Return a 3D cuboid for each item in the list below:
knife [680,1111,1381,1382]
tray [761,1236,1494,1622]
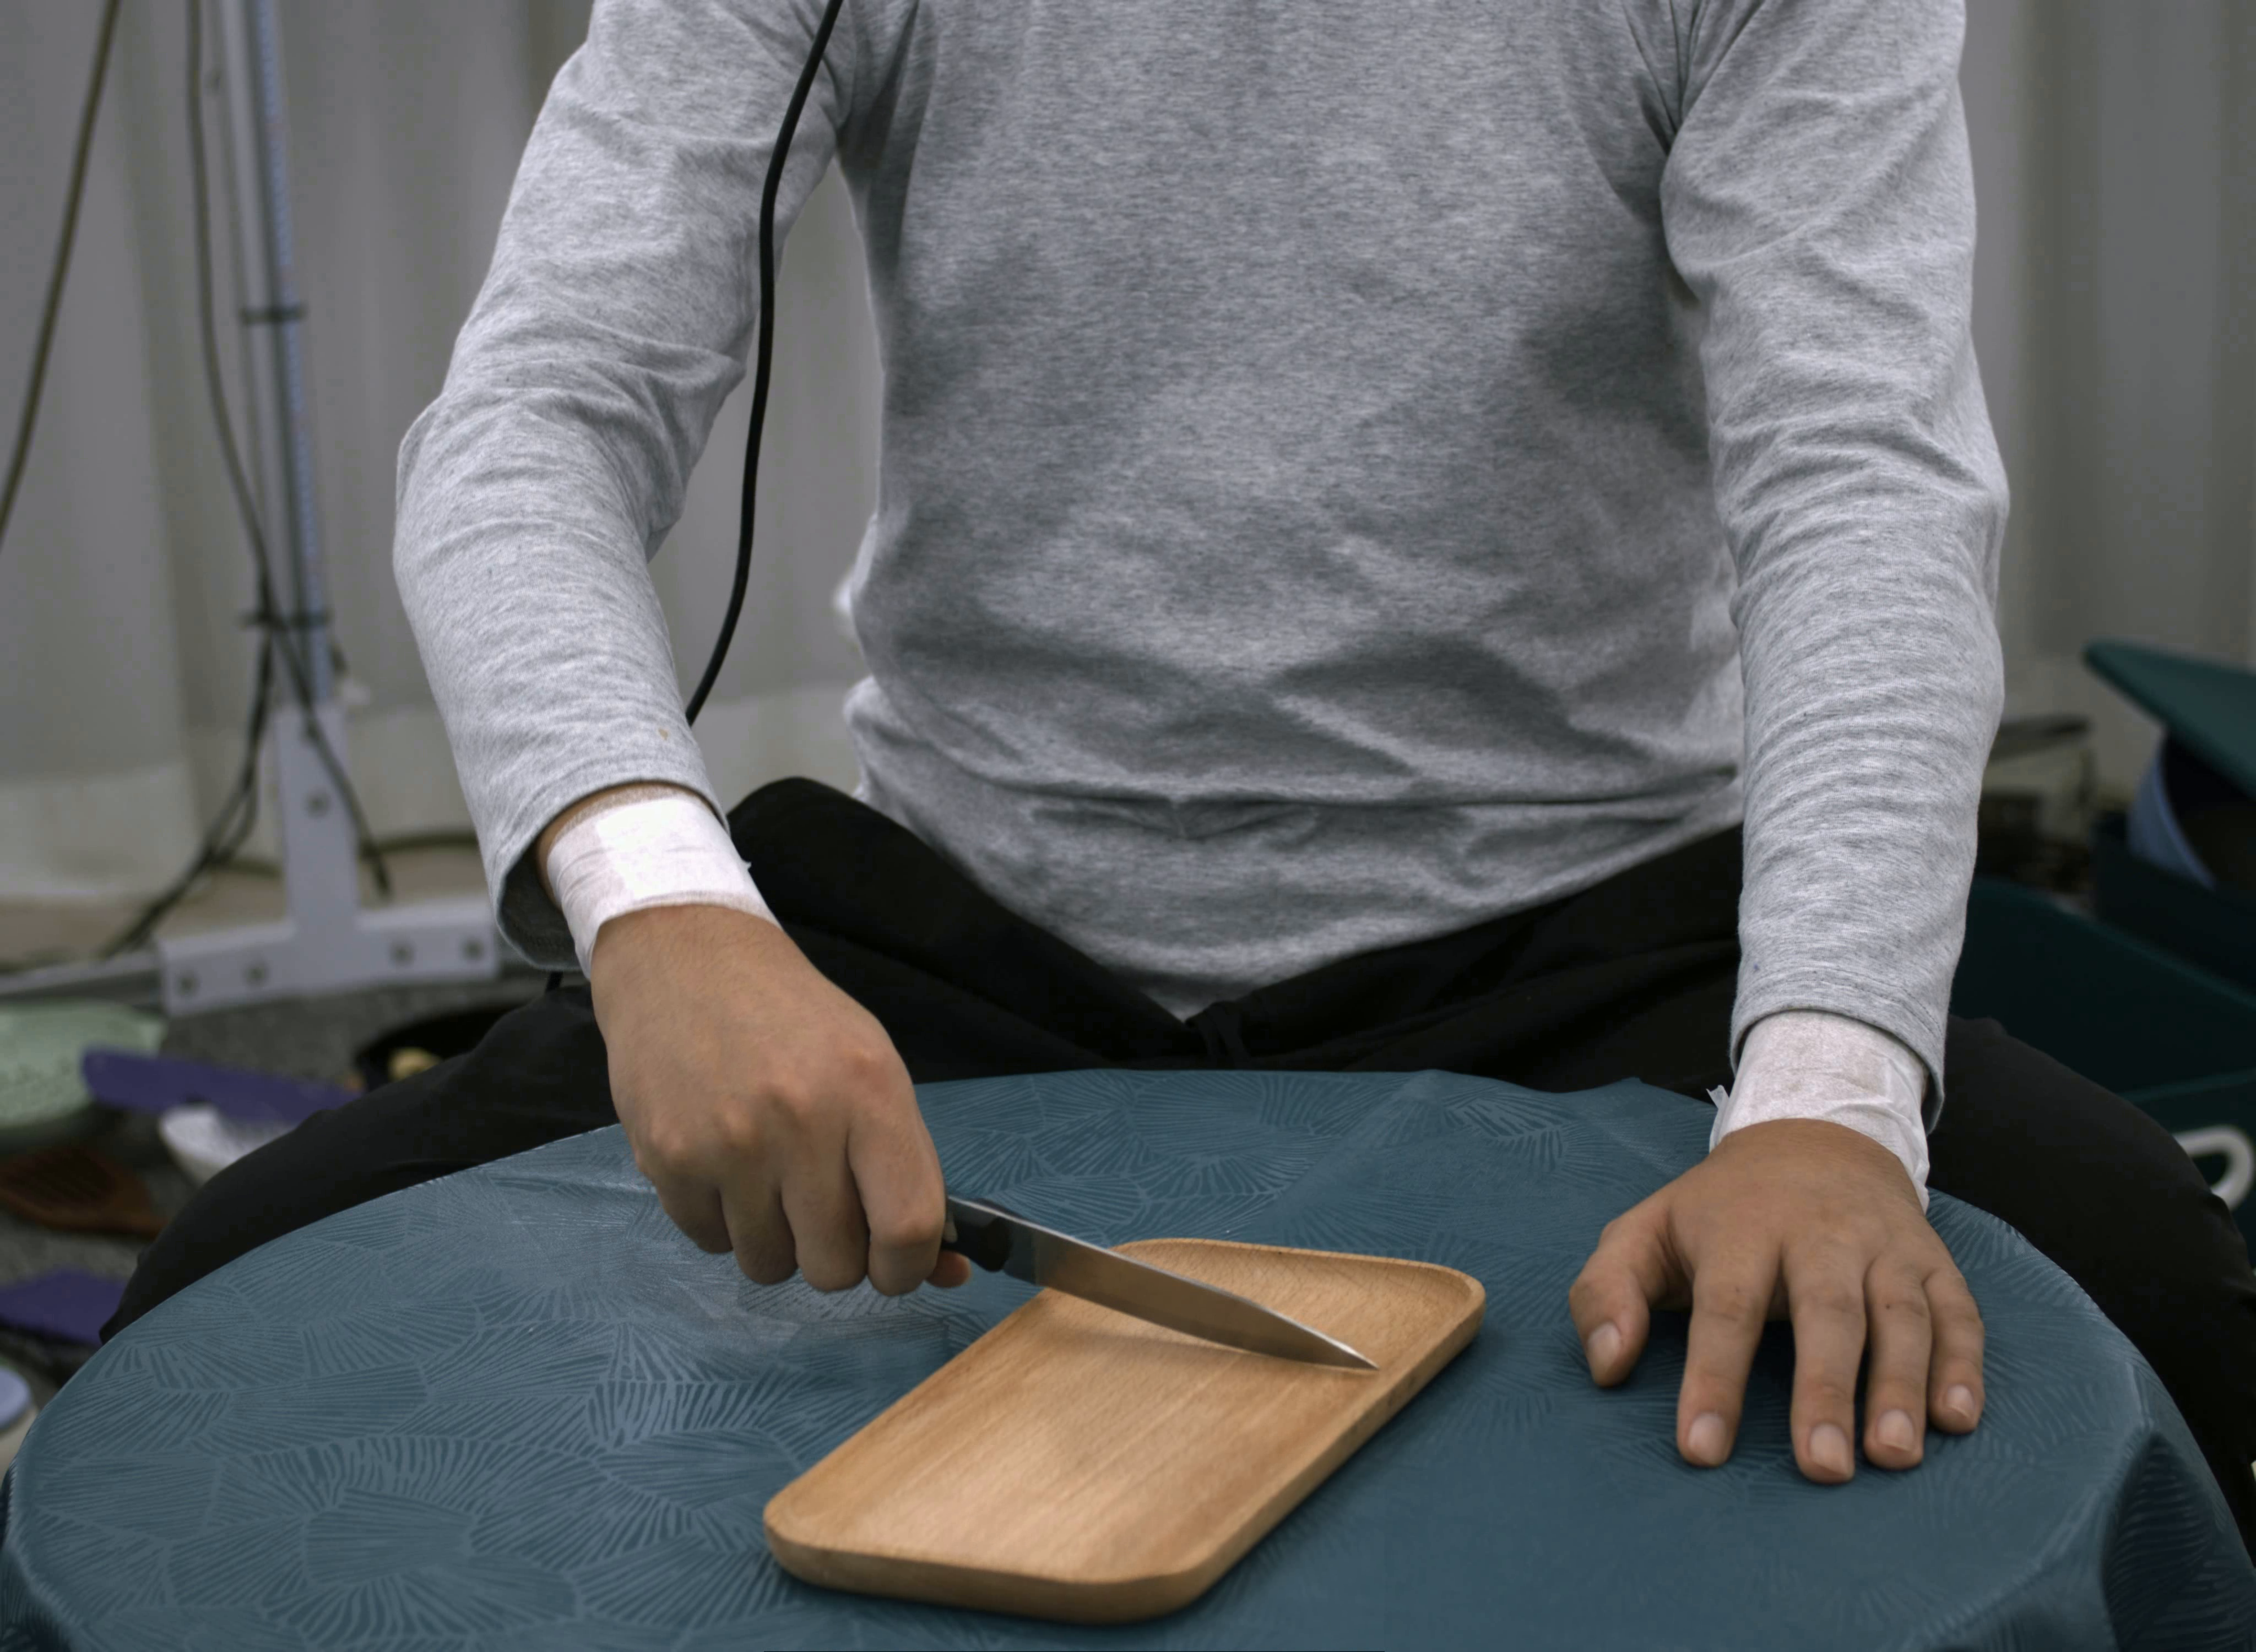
[{"bbox_3d":[-0.030,0.122,1.578,0.239,0.024,0.016,17,37,27],"label":"knife"},{"bbox_3d":[0.005,0.163,1.504,0.131,0.023,0.251,7,17,24],"label":"tray"}]
